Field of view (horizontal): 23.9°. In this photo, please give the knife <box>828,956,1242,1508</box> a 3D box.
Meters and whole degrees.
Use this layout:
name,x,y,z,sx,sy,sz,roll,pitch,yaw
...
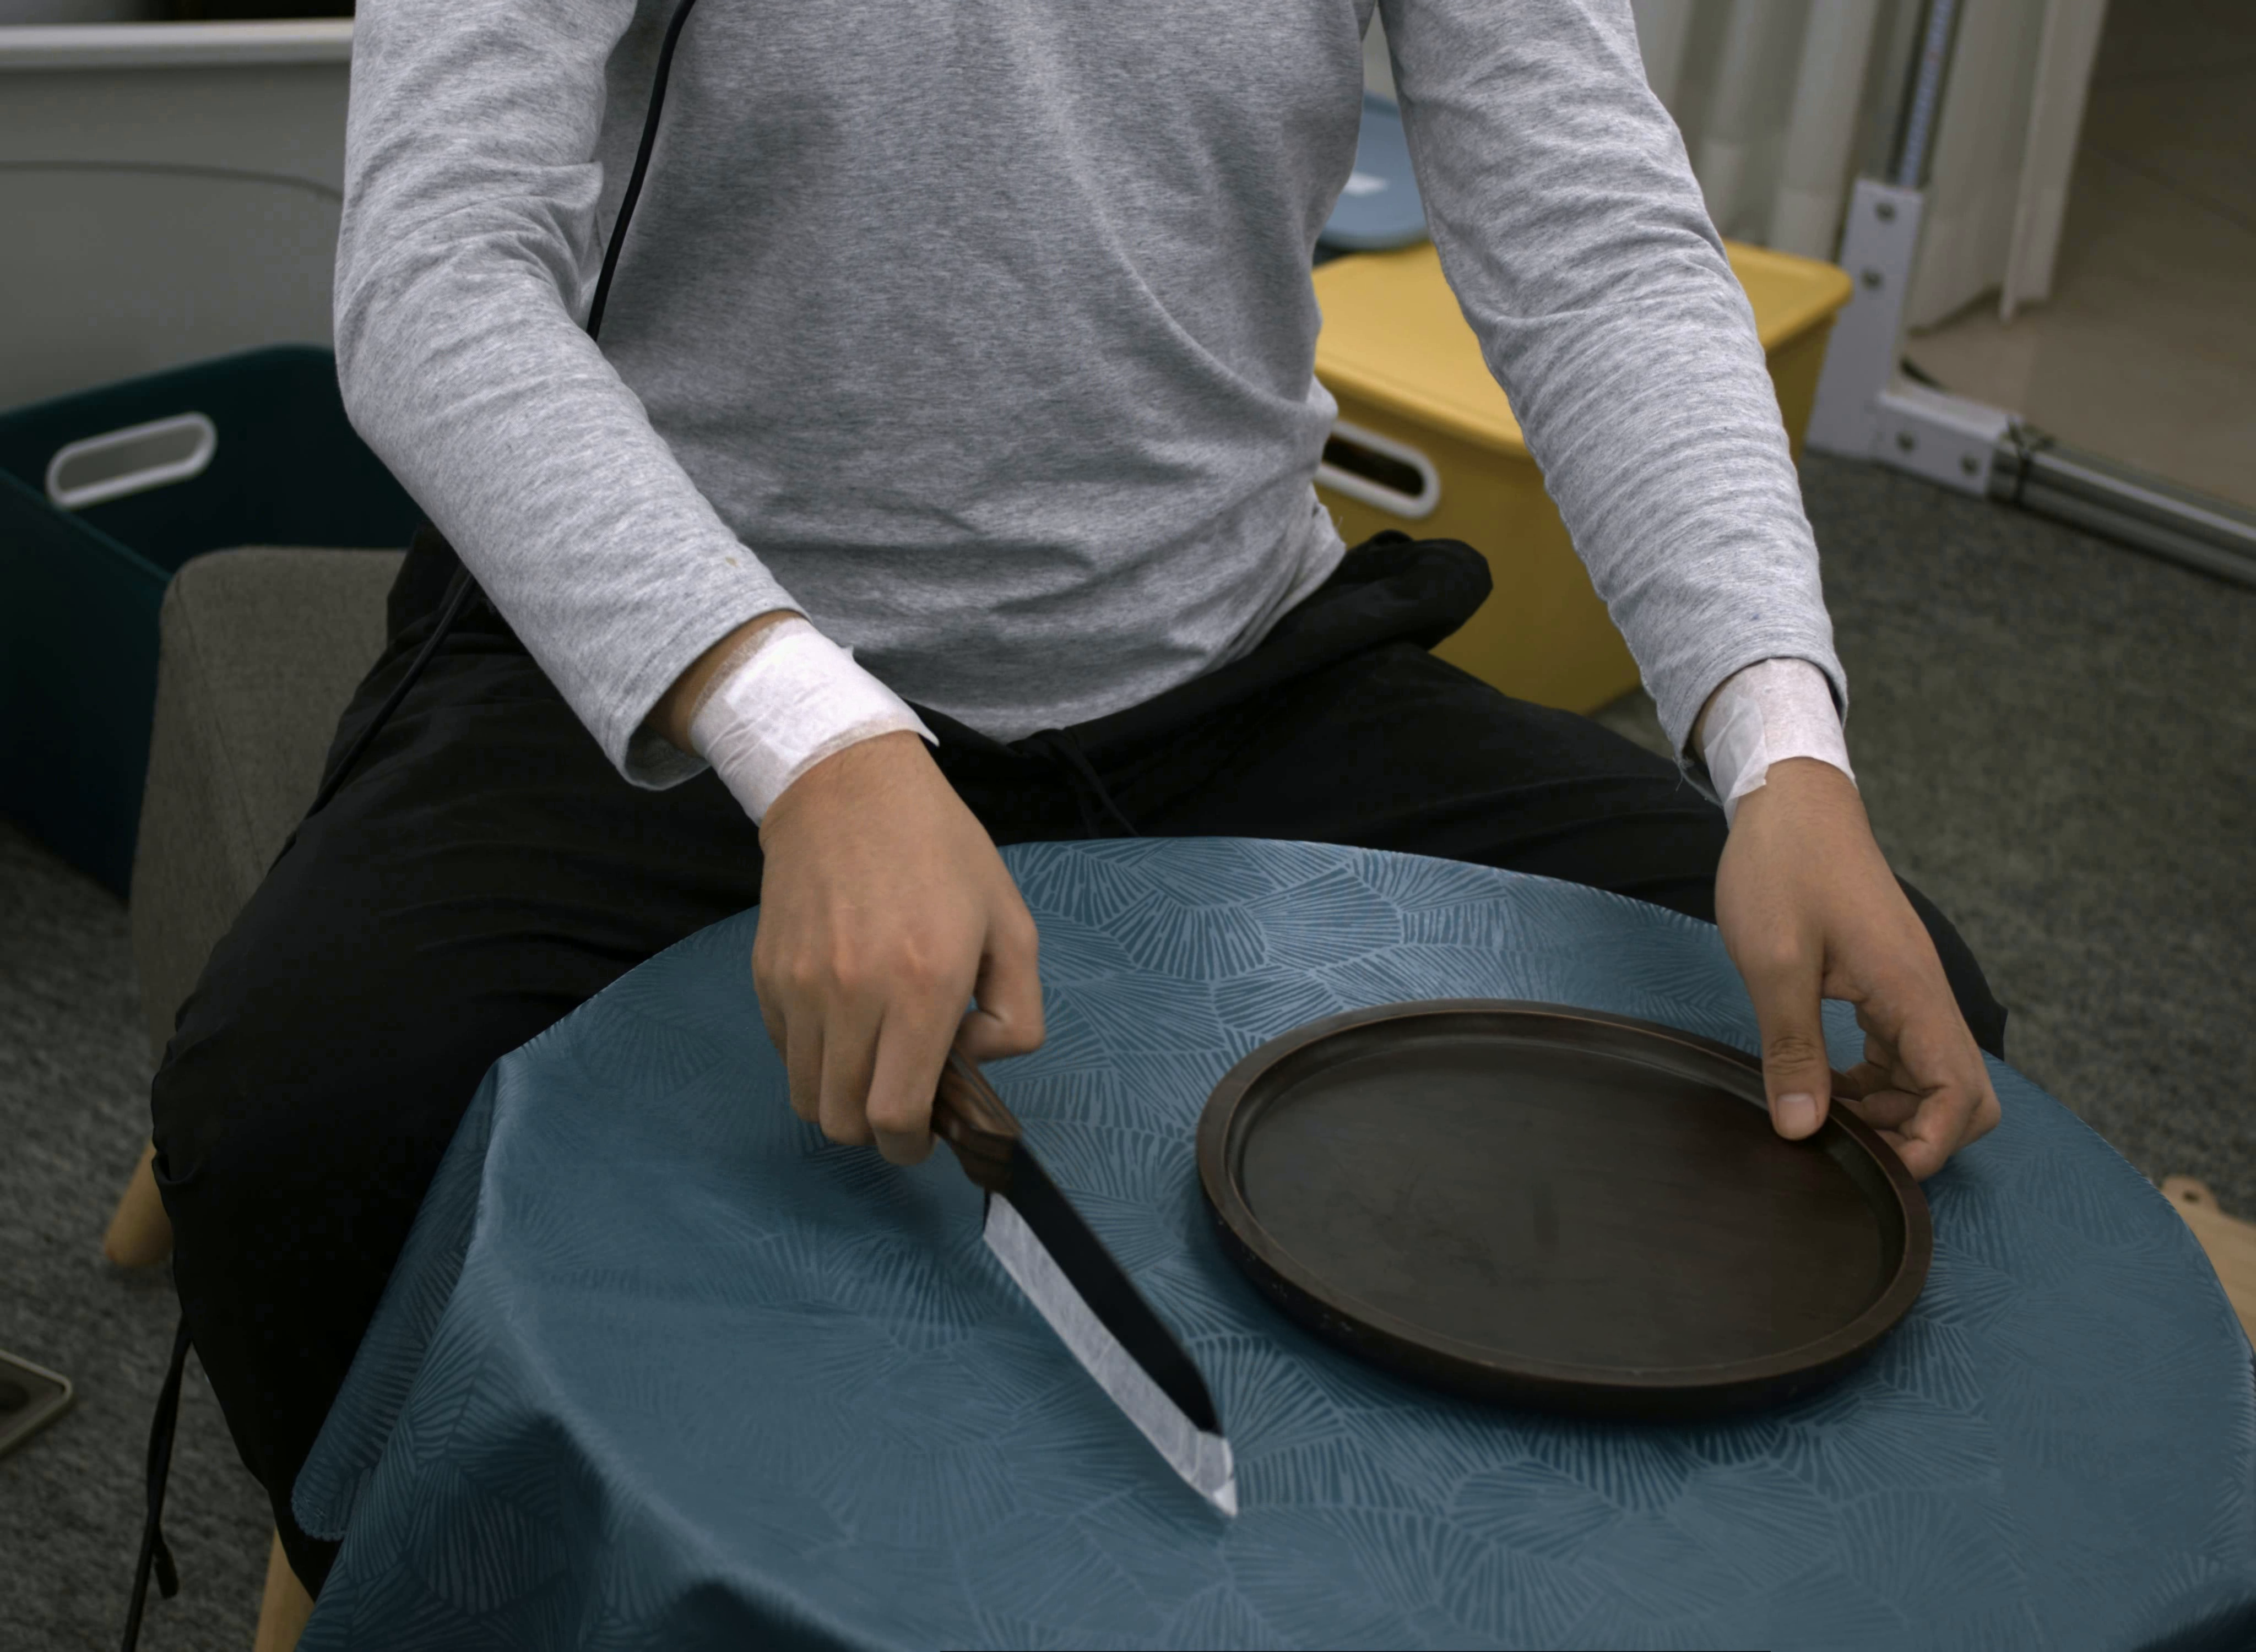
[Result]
name,x,y,z,sx,sy,sz,roll,pitch,yaw
knife,-0.031,0.128,1.730,0.020,0.050,0.292,1,32,-33

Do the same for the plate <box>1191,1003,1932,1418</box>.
name,x,y,z,sx,sy,sz,roll,pitch,yaw
plate,0.146,0.128,1.803,0.254,0.029,0.256,3,26,-2
